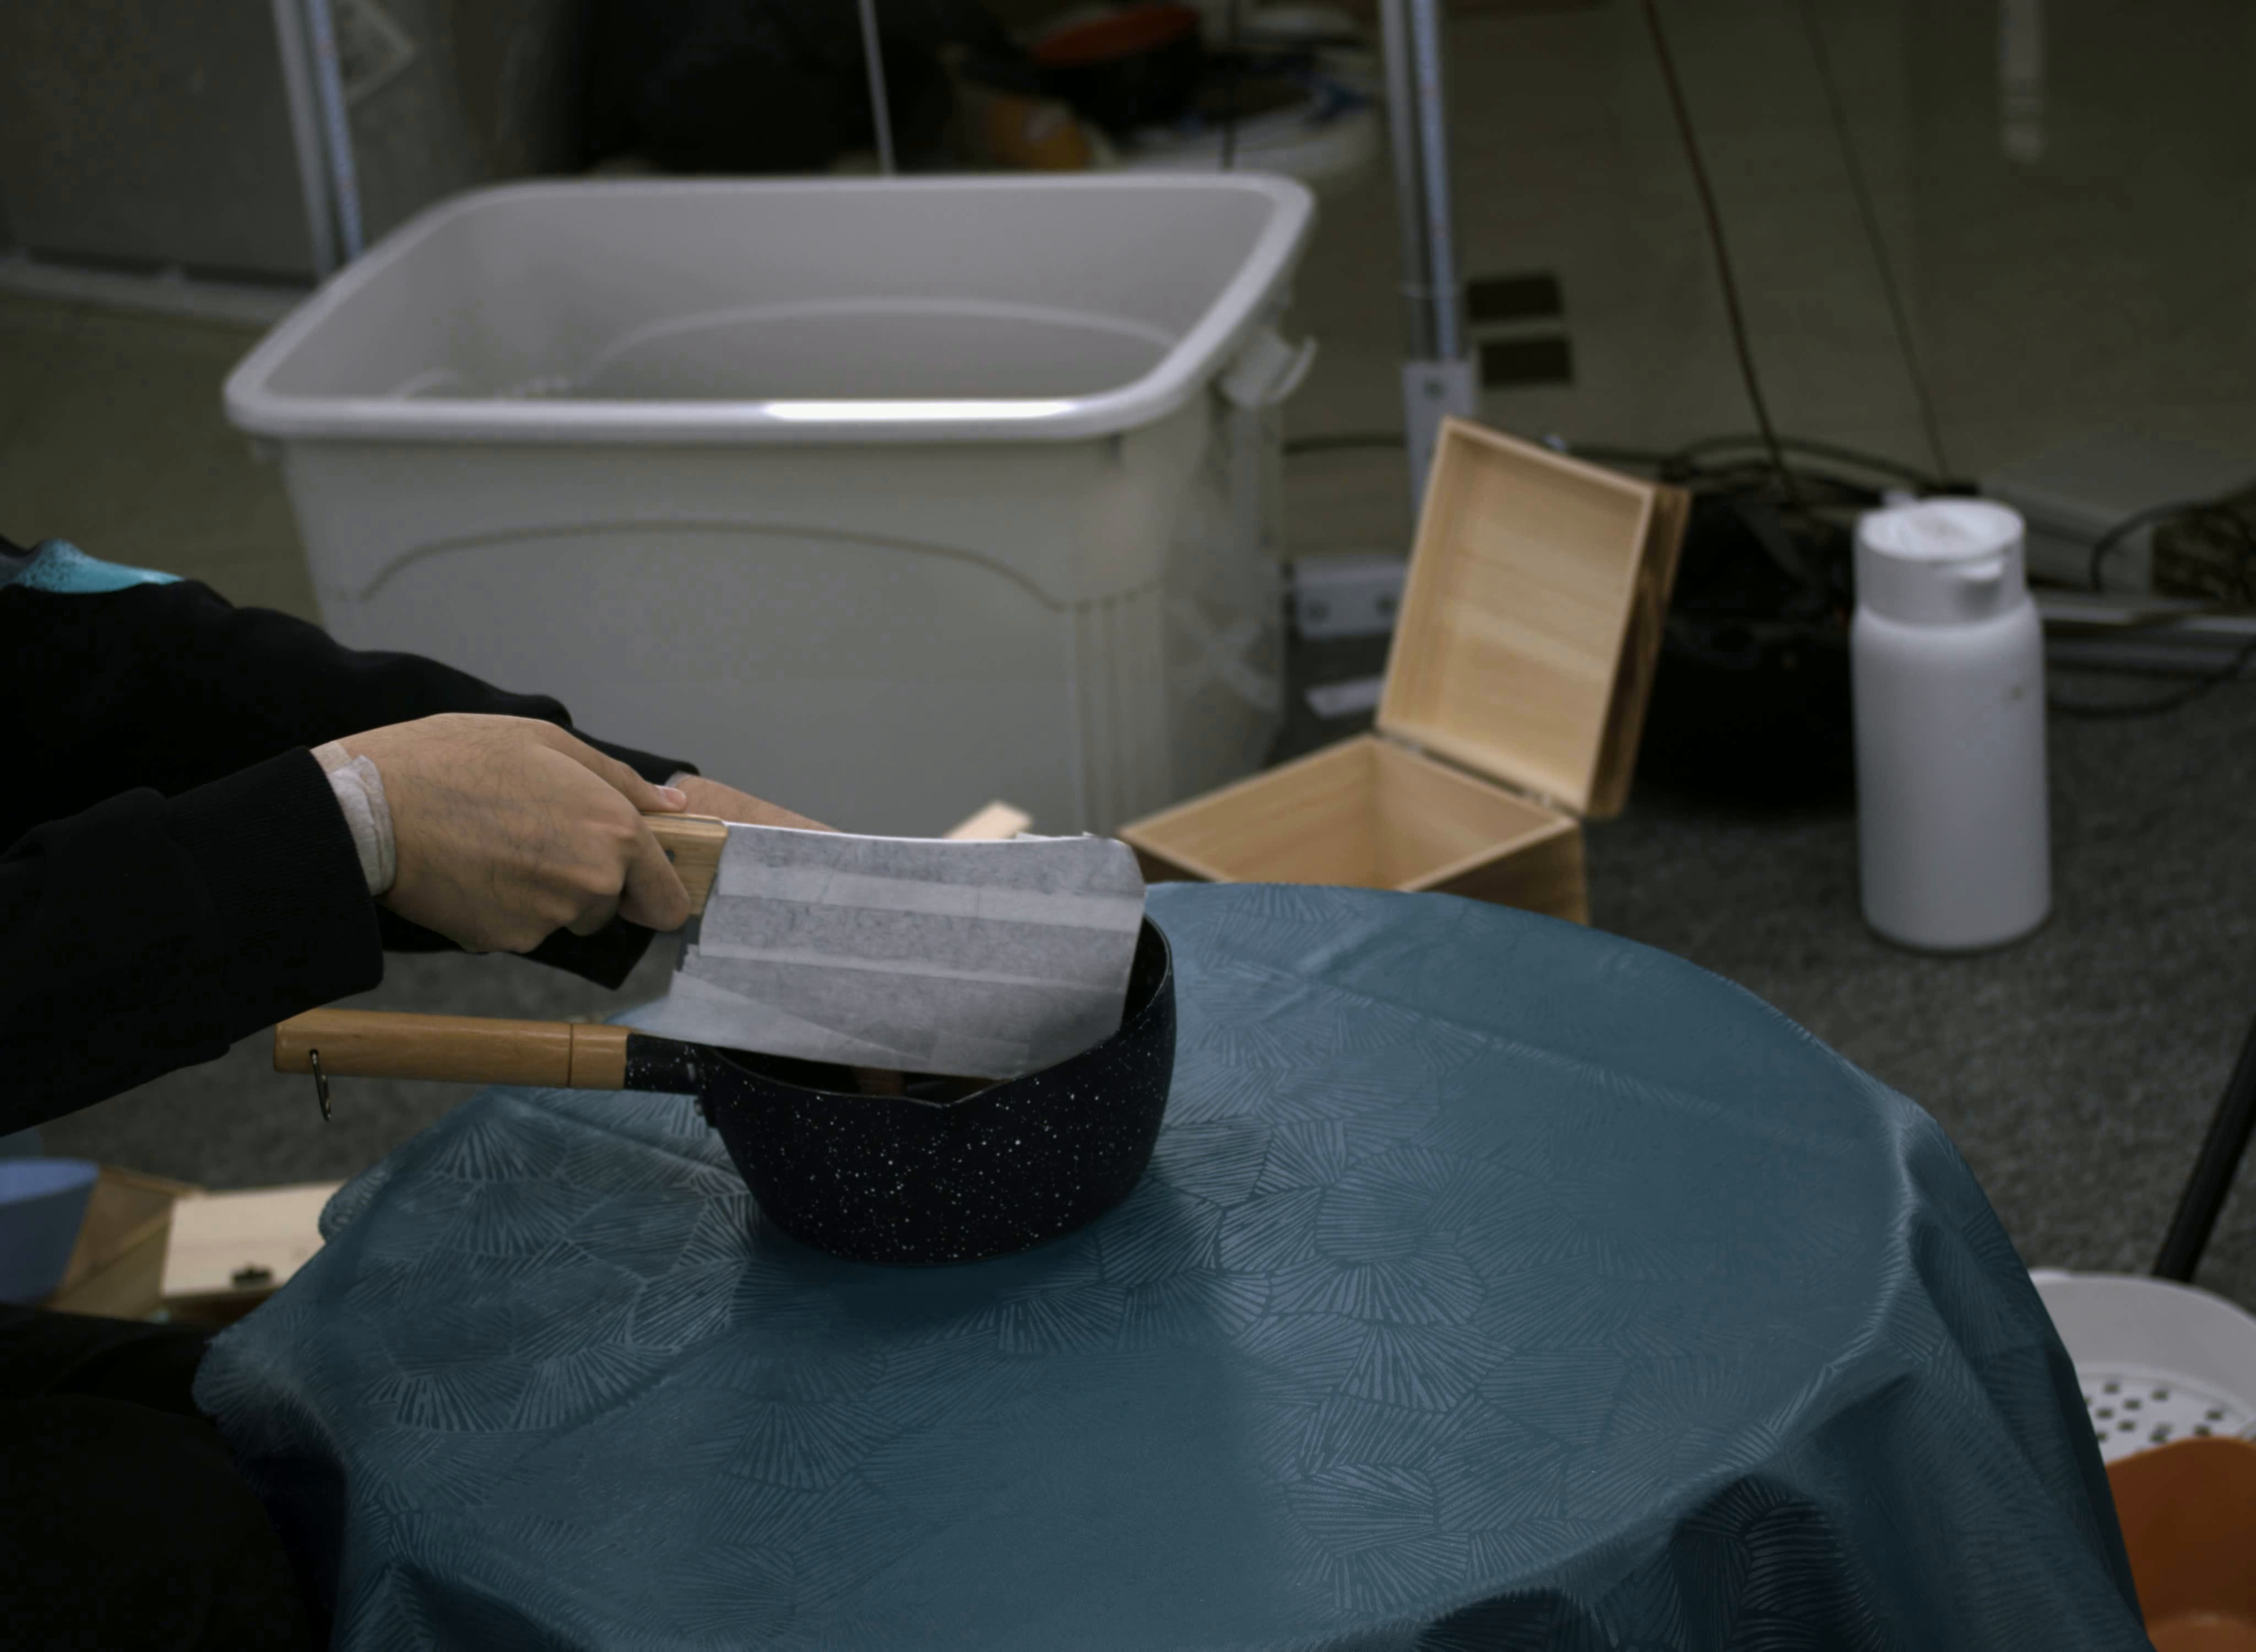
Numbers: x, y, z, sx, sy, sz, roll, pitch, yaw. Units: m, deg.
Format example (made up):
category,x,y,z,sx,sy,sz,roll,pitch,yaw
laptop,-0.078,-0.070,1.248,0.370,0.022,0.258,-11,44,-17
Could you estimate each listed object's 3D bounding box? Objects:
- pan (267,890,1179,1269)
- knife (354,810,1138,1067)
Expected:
category,x,y,z,sx,sy,sz,roll,pitch,yaw
pan,-0.149,0.096,2.144,0.342,0.110,0.204,-8,26,-5
knife,-0.135,0.031,2.084,0.316,0.115,0.021,10,17,-26
